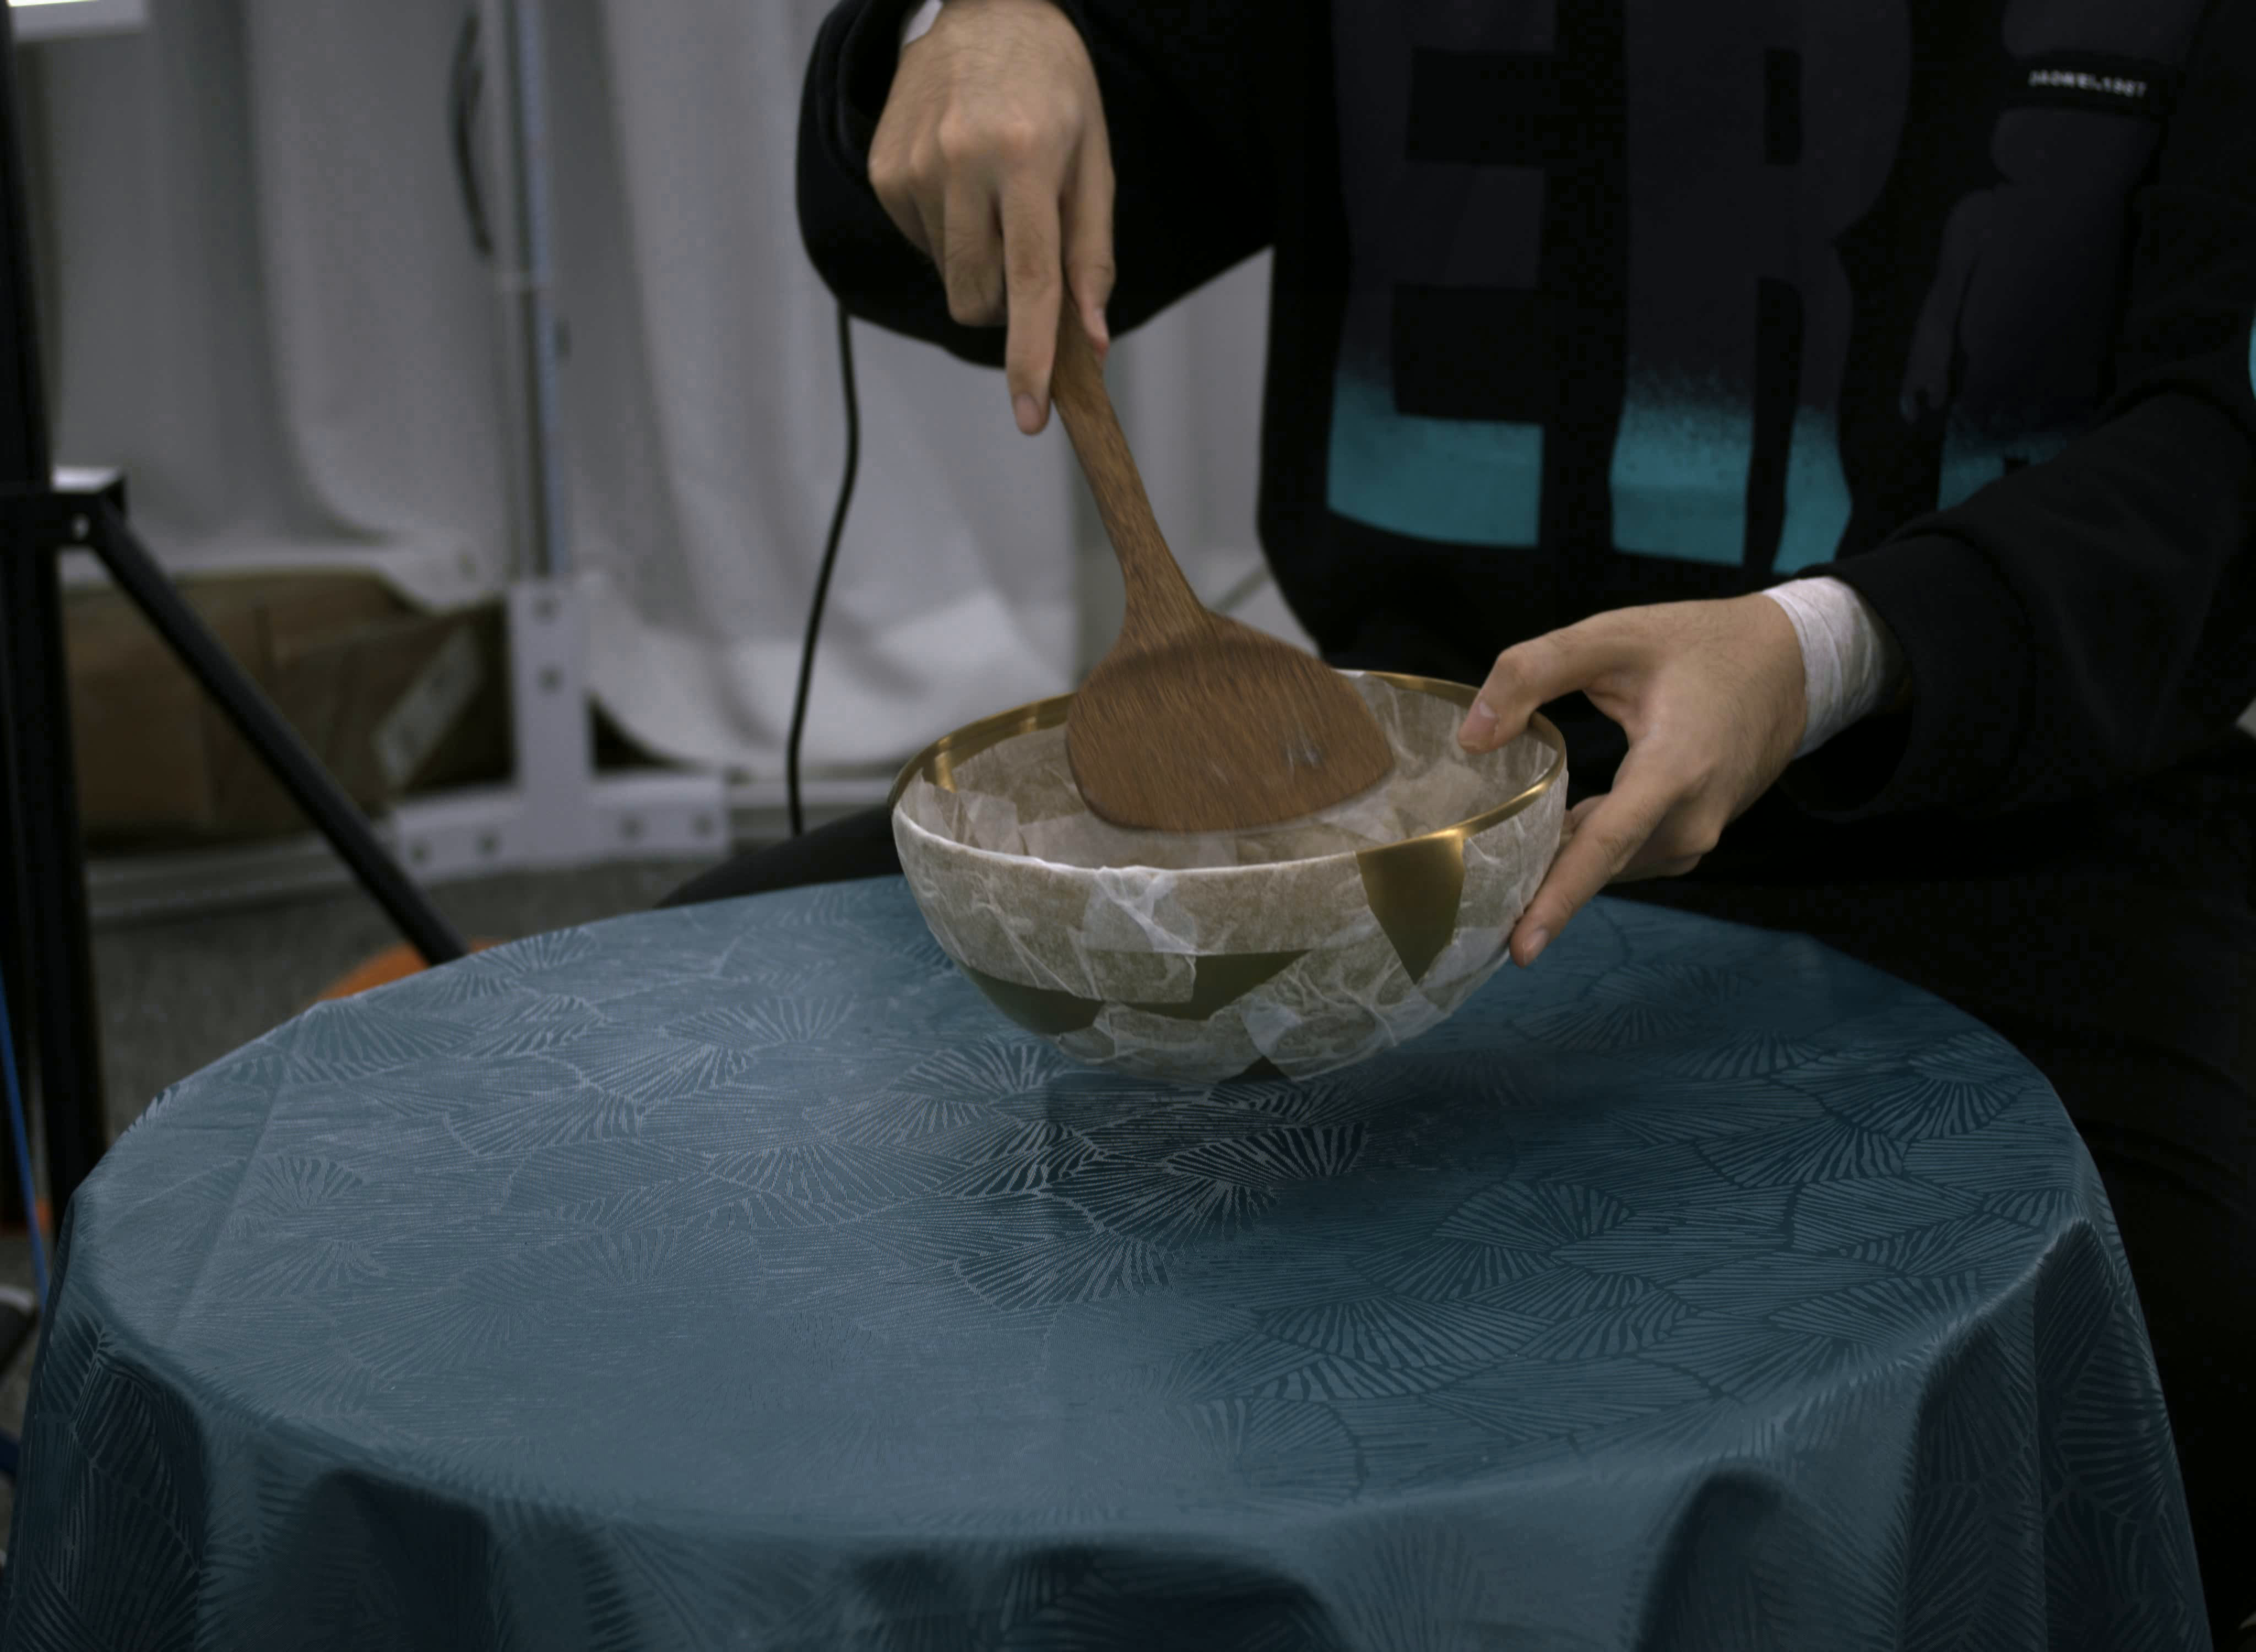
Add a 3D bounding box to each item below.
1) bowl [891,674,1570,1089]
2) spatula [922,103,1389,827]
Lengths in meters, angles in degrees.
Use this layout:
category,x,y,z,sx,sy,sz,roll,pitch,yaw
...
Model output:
category,x,y,z,sx,sy,sz,roll,pitch,yaw
bowl,0.036,0.024,1.586,0.214,0.094,0.216,-5,16,0
spatula,-0.012,-0.125,1.698,0.095,0.015,0.393,-12,42,-9
